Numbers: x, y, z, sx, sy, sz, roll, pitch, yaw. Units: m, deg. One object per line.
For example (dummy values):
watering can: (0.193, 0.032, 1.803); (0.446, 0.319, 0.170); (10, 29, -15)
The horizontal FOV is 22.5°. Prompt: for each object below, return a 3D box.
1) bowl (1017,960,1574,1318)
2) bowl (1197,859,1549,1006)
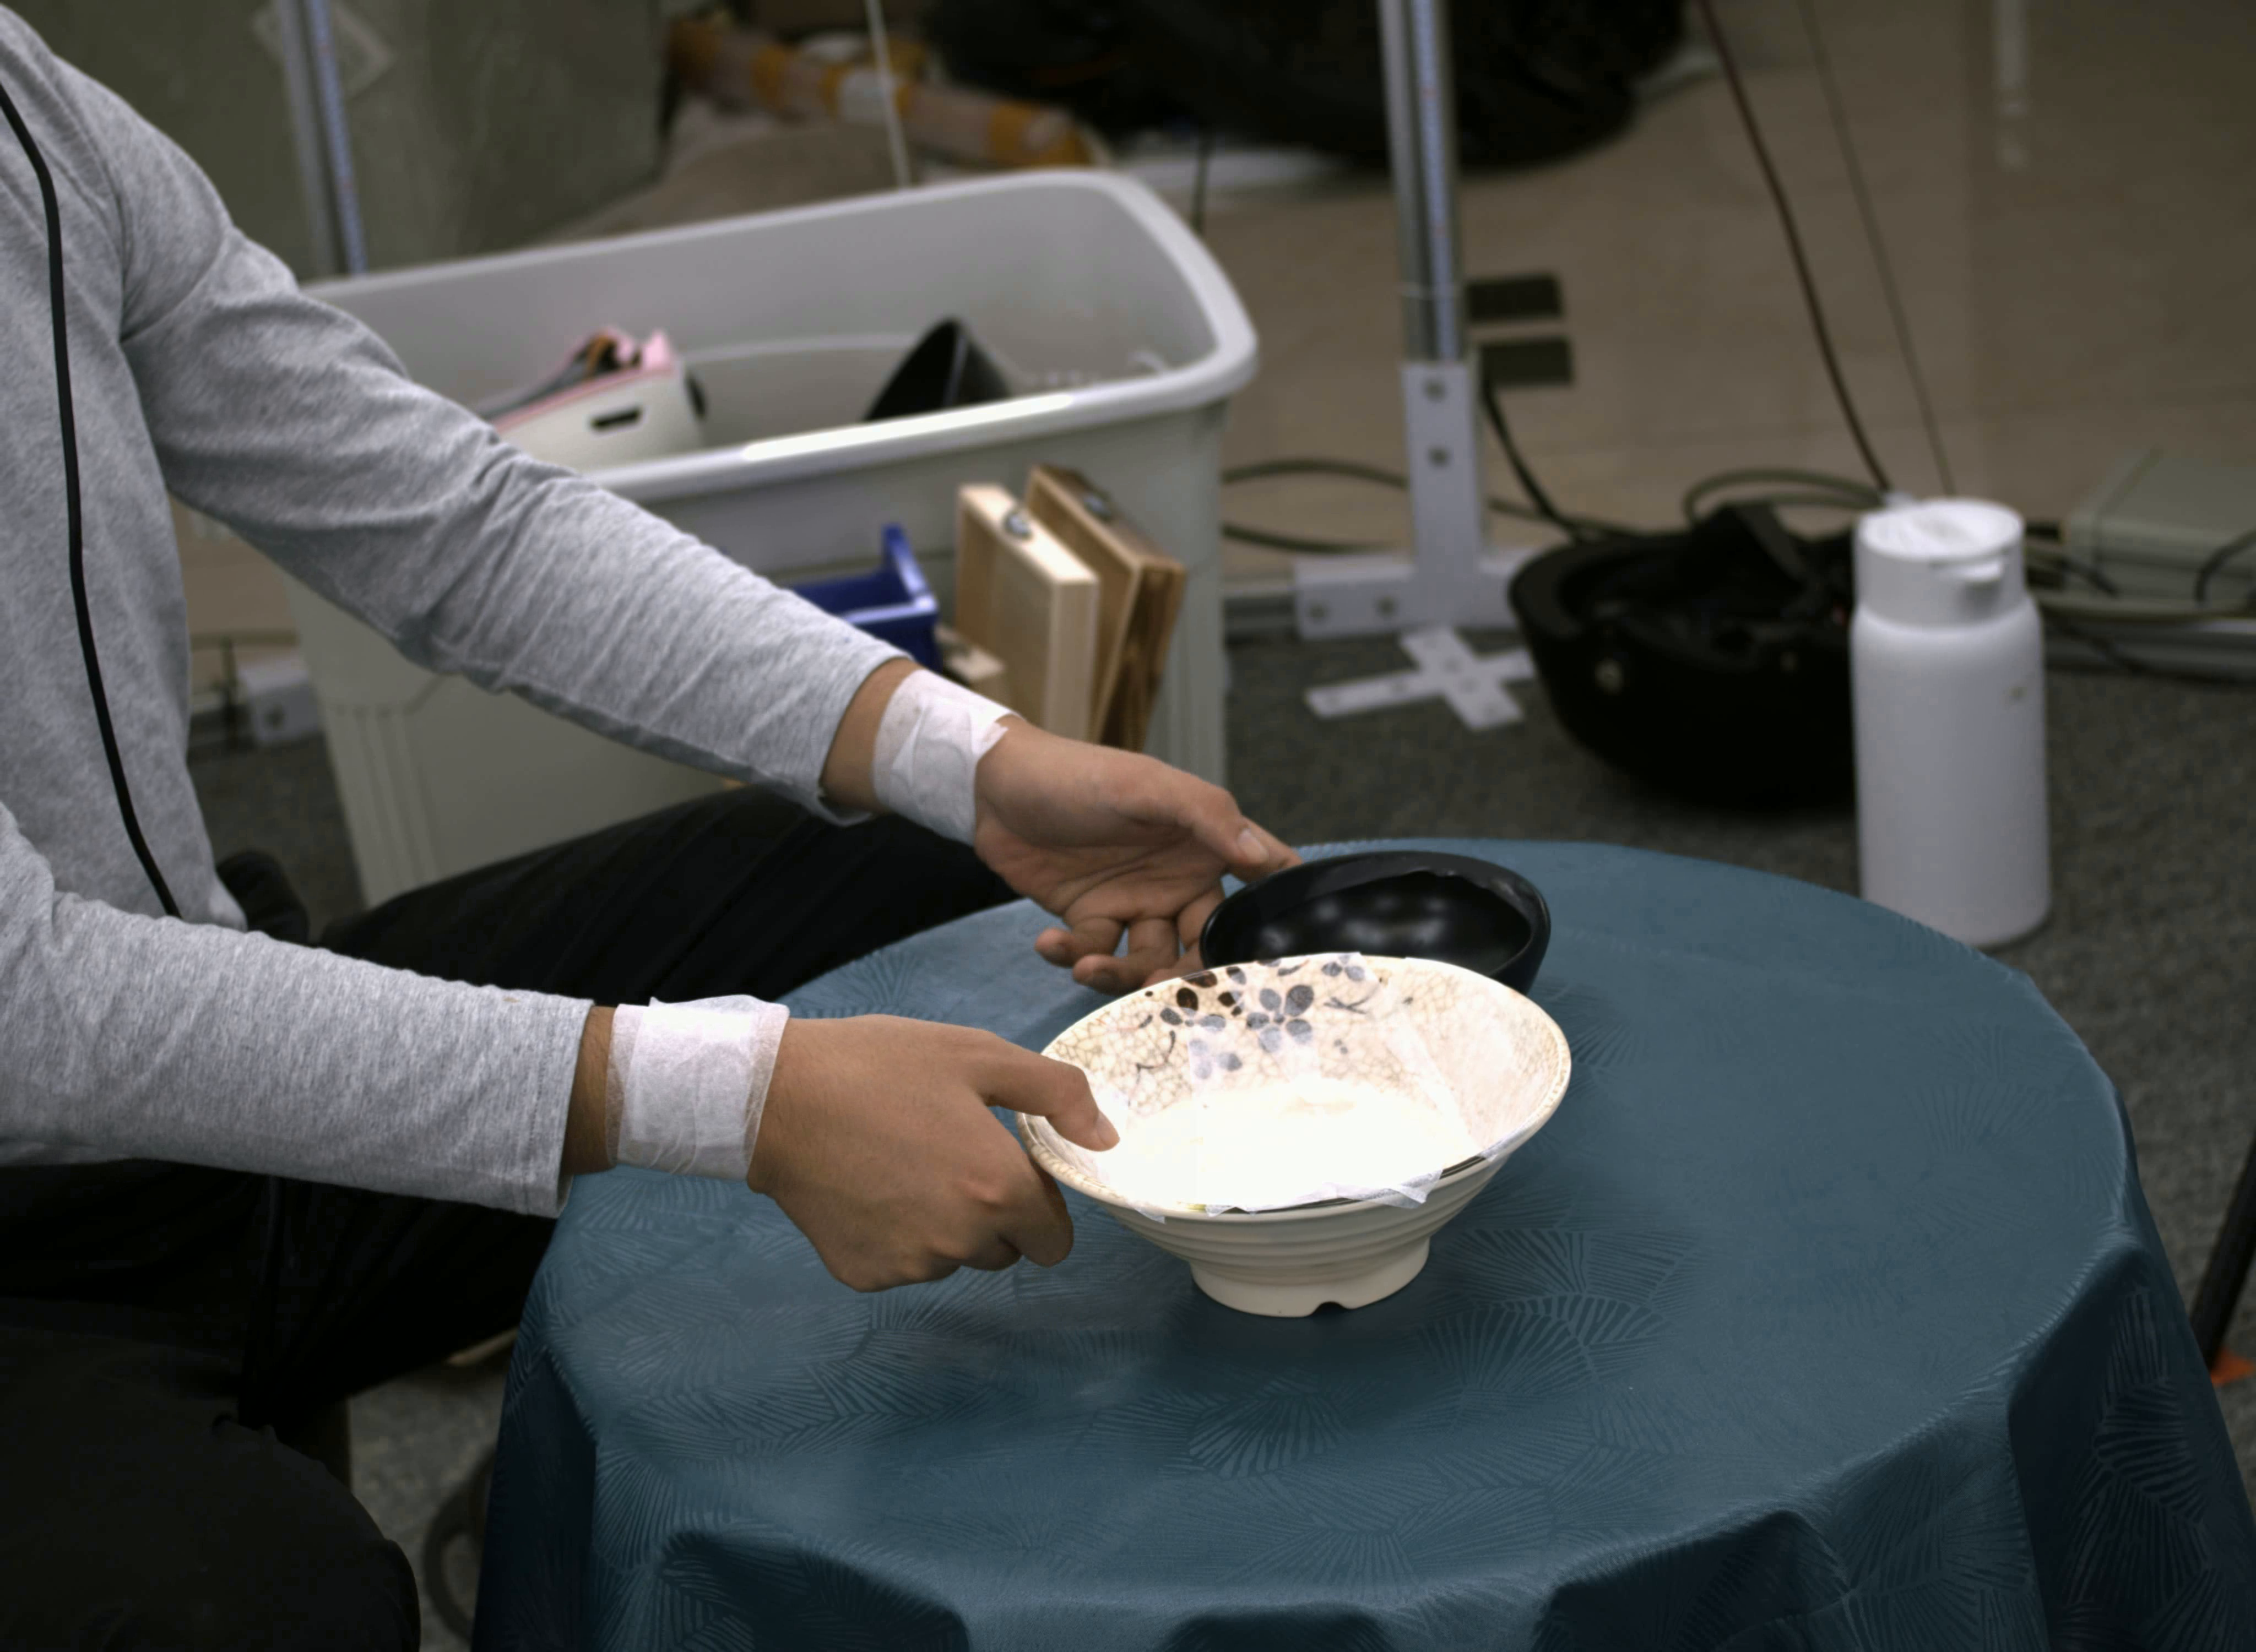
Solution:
bowl: (0.064, 0.125, 2.072); (0.203, 0.079, 0.201); (-6, 24, 3)
bowl: (0.099, 0.062, 2.237); (0.140, 0.050, 0.138); (-8, 22, 3)
